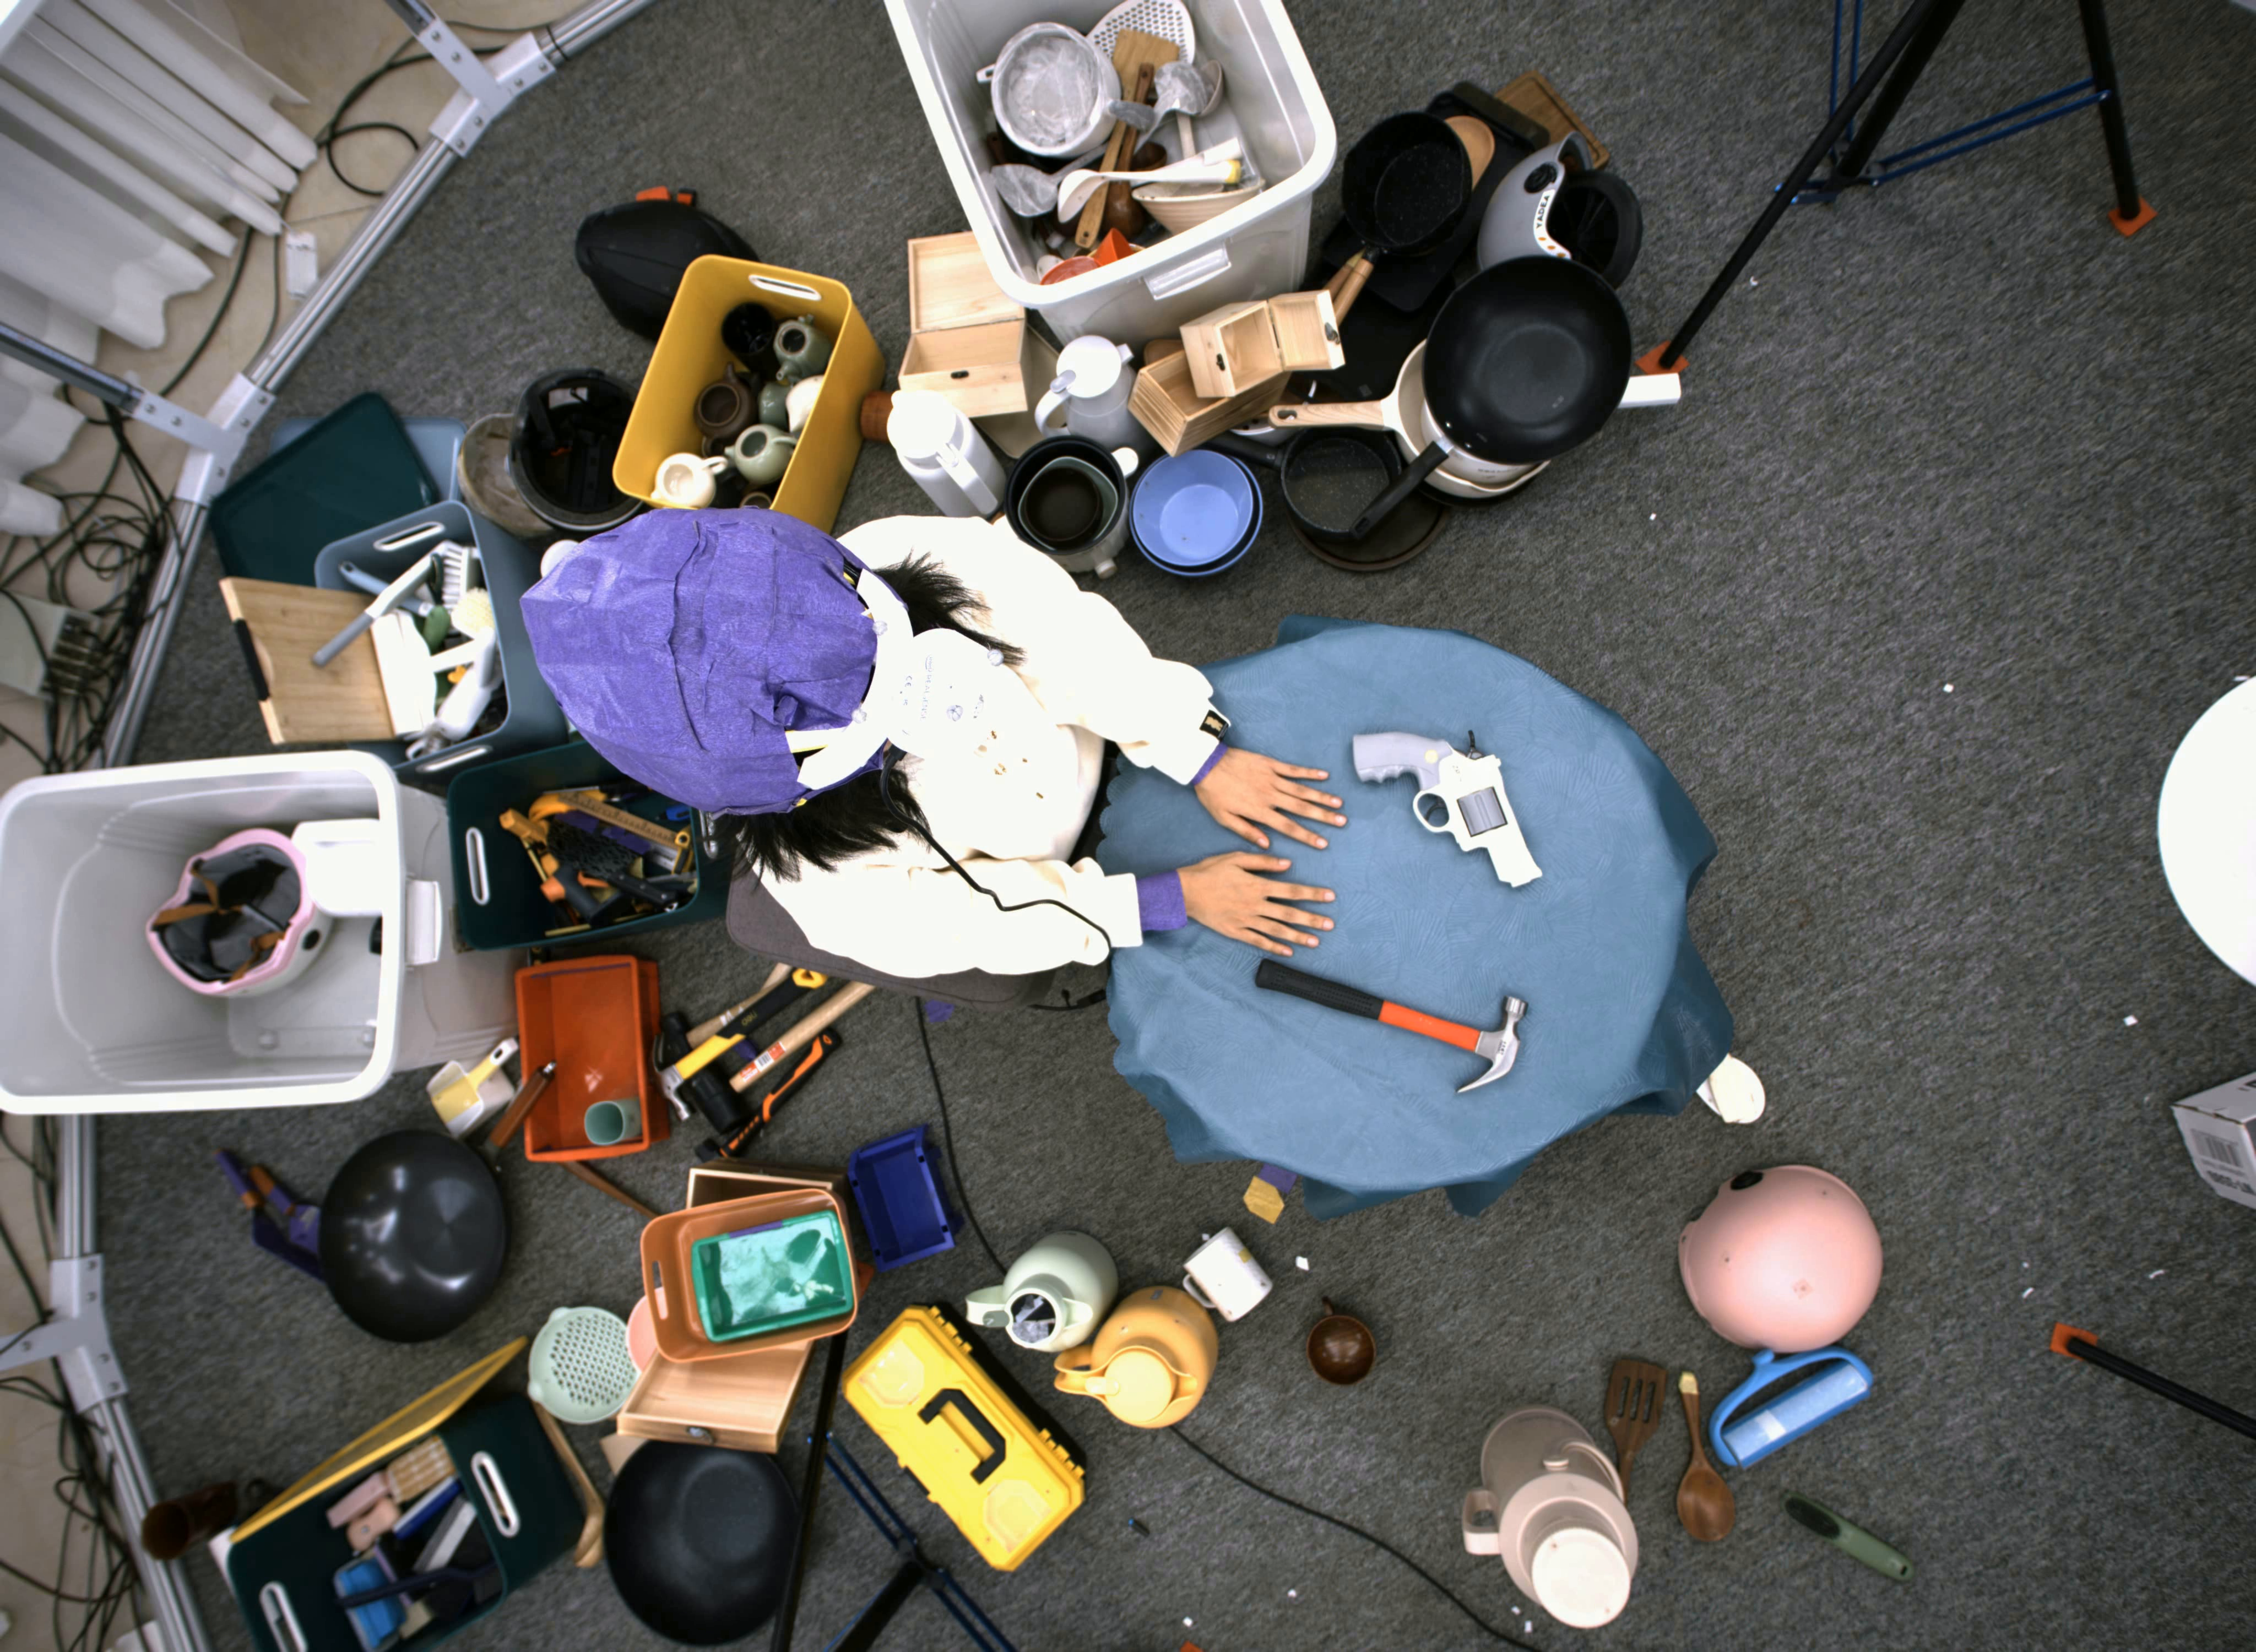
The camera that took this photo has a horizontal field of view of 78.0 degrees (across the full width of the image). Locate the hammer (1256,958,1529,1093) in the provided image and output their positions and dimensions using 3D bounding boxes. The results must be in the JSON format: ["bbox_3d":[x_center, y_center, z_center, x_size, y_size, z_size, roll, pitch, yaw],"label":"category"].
[{"bbox_3d":[0.267,0.193,1.440,0.277,0.026,0.111,17,98,11],"label":"hammer"}]

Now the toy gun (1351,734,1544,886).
[{"bbox_3d":[0.329,-0.021,1.434,0.142,0.039,0.208,-23,83,7],"label":"toy gun"}]
